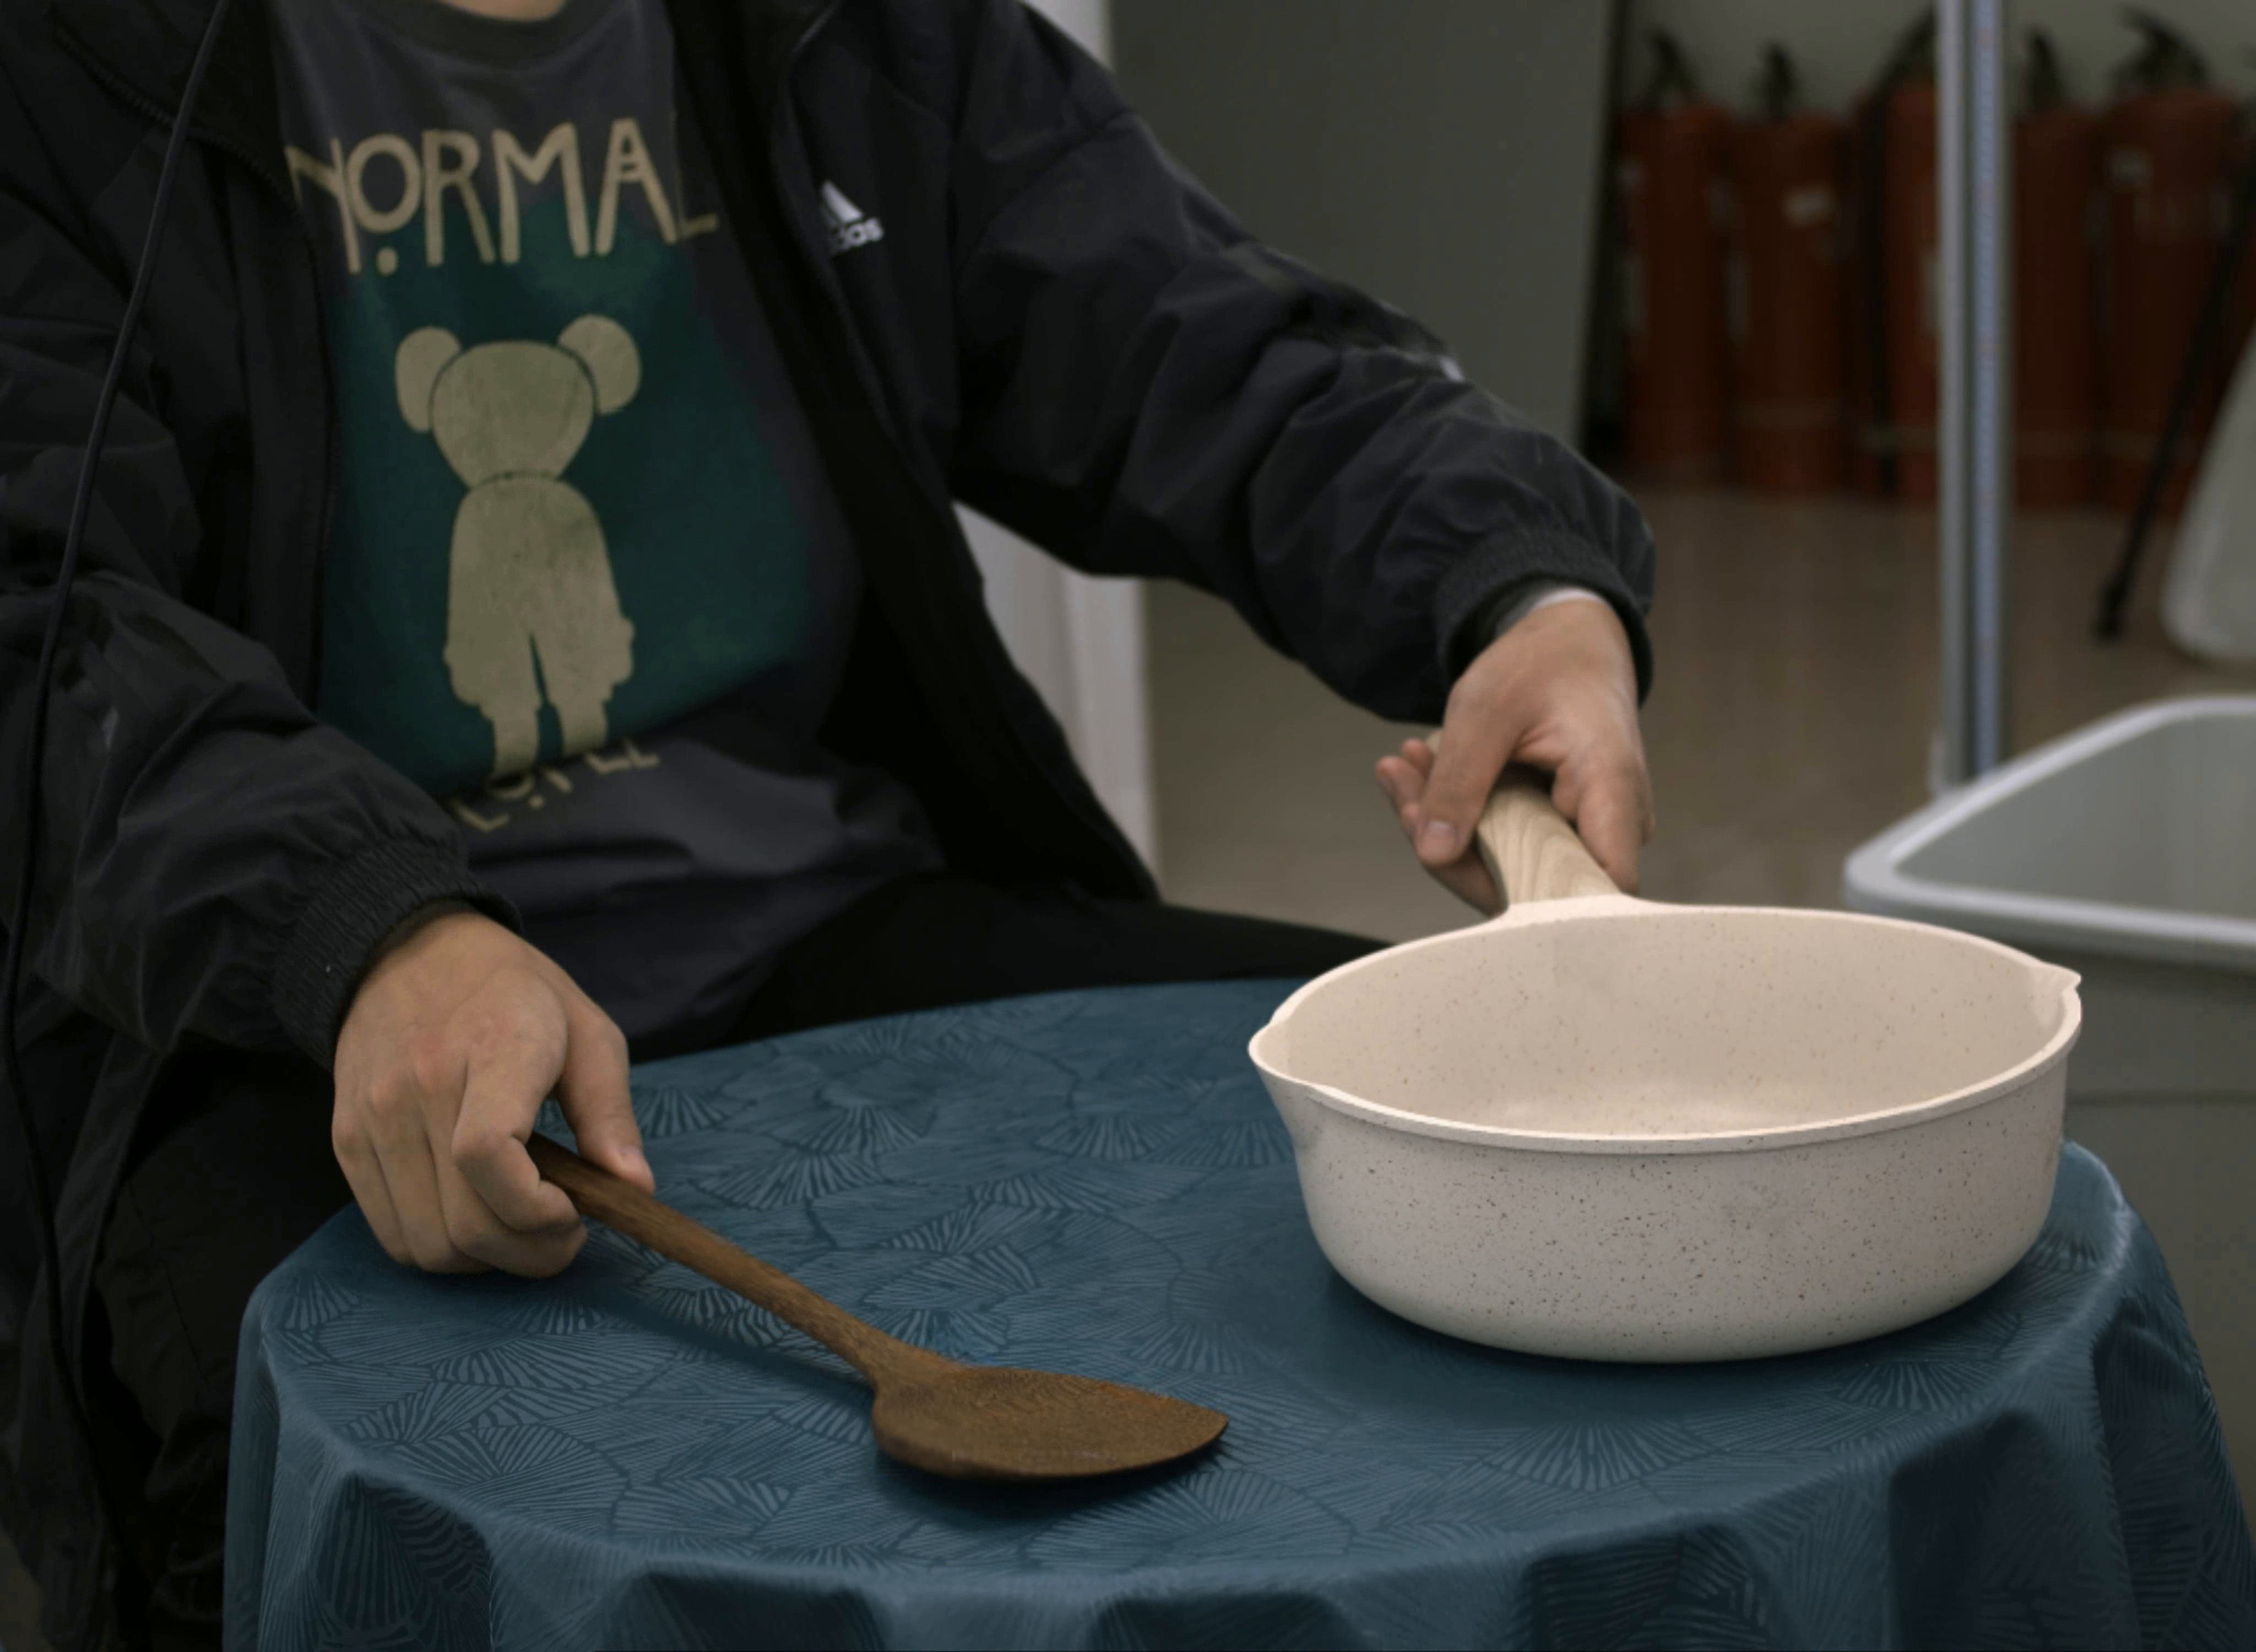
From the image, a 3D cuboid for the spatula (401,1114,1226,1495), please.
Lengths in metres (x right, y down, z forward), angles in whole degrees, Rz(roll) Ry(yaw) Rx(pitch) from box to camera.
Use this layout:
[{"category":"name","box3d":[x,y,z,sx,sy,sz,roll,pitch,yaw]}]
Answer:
[{"category":"spatula","box3d":[-0.117,0.140,1.649,0.094,0.016,0.390,-9,18,-37]}]

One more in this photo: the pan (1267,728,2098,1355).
[{"category":"pan","box3d":[0.160,0.064,1.744,0.259,0.103,0.437,-8,14,-6]}]
